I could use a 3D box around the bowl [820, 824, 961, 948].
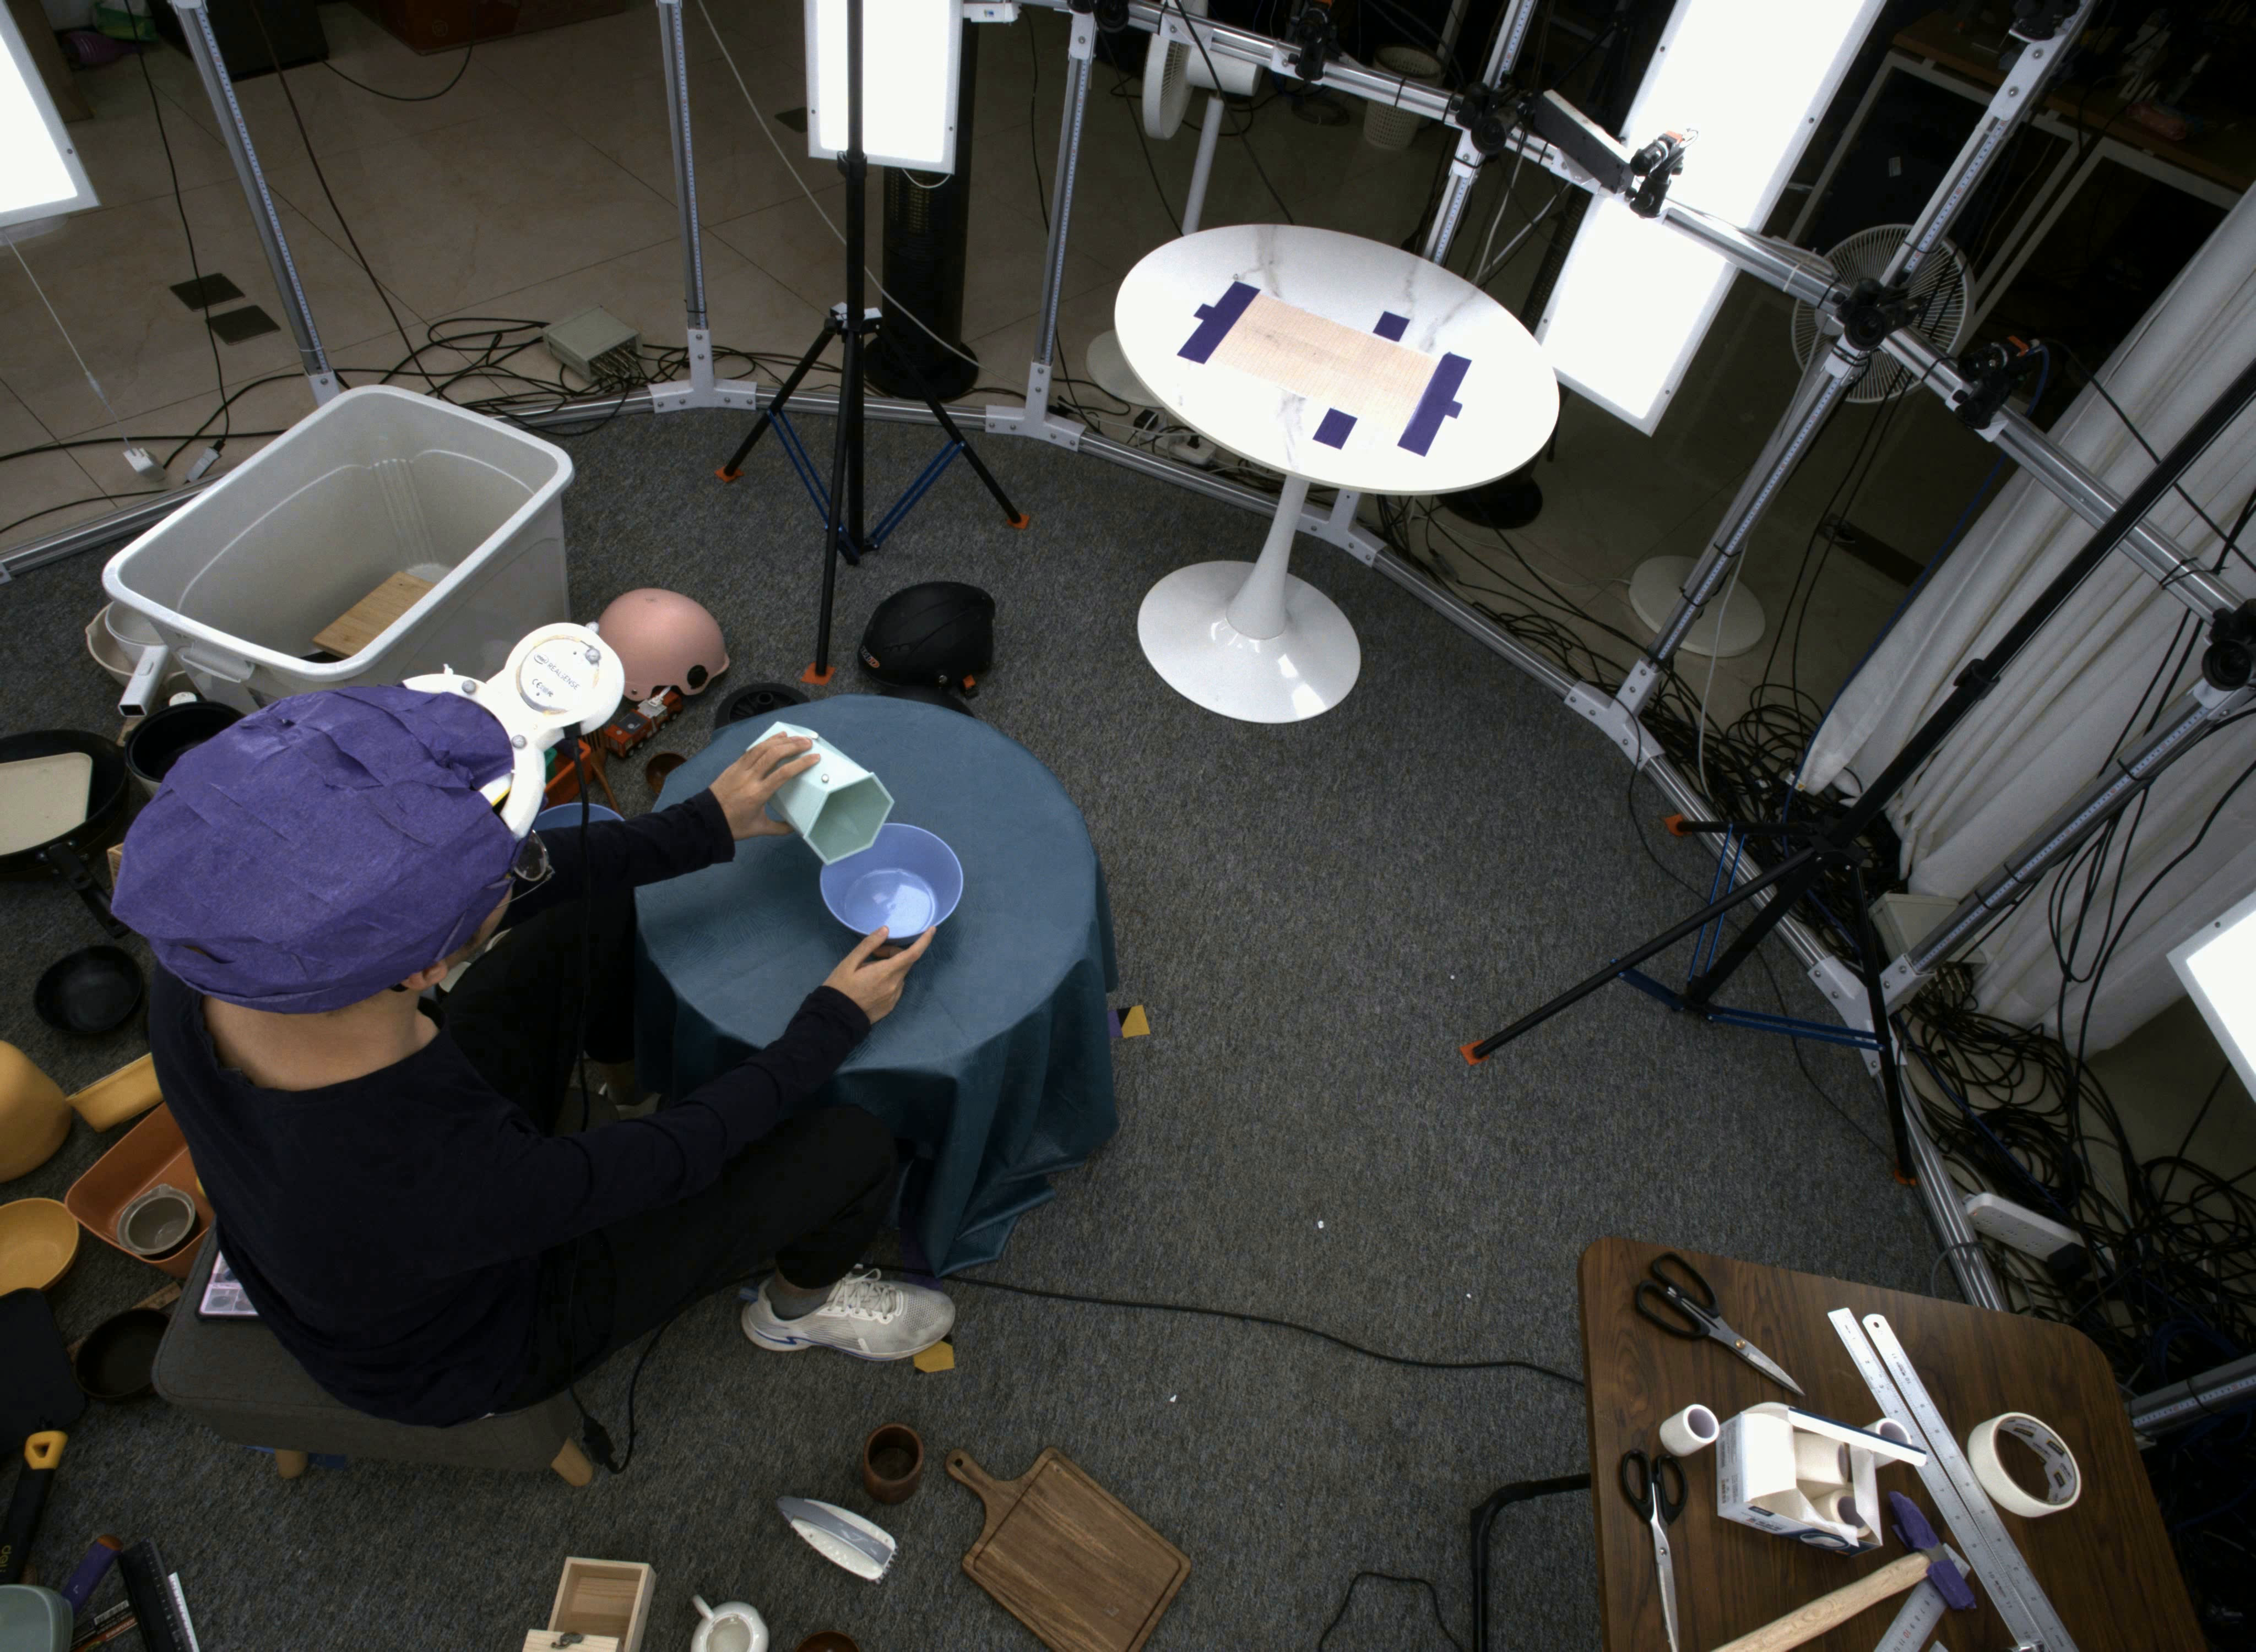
[{"bbox_3d":[-0.300,0.086,1.647,0.175,0.072,0.173,7,53,-8],"label":"bowl"}]

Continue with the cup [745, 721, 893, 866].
[{"bbox_3d":[-0.390,-0.051,1.602,0.157,0.135,0.115,37,77,31],"label":"cup"}]
